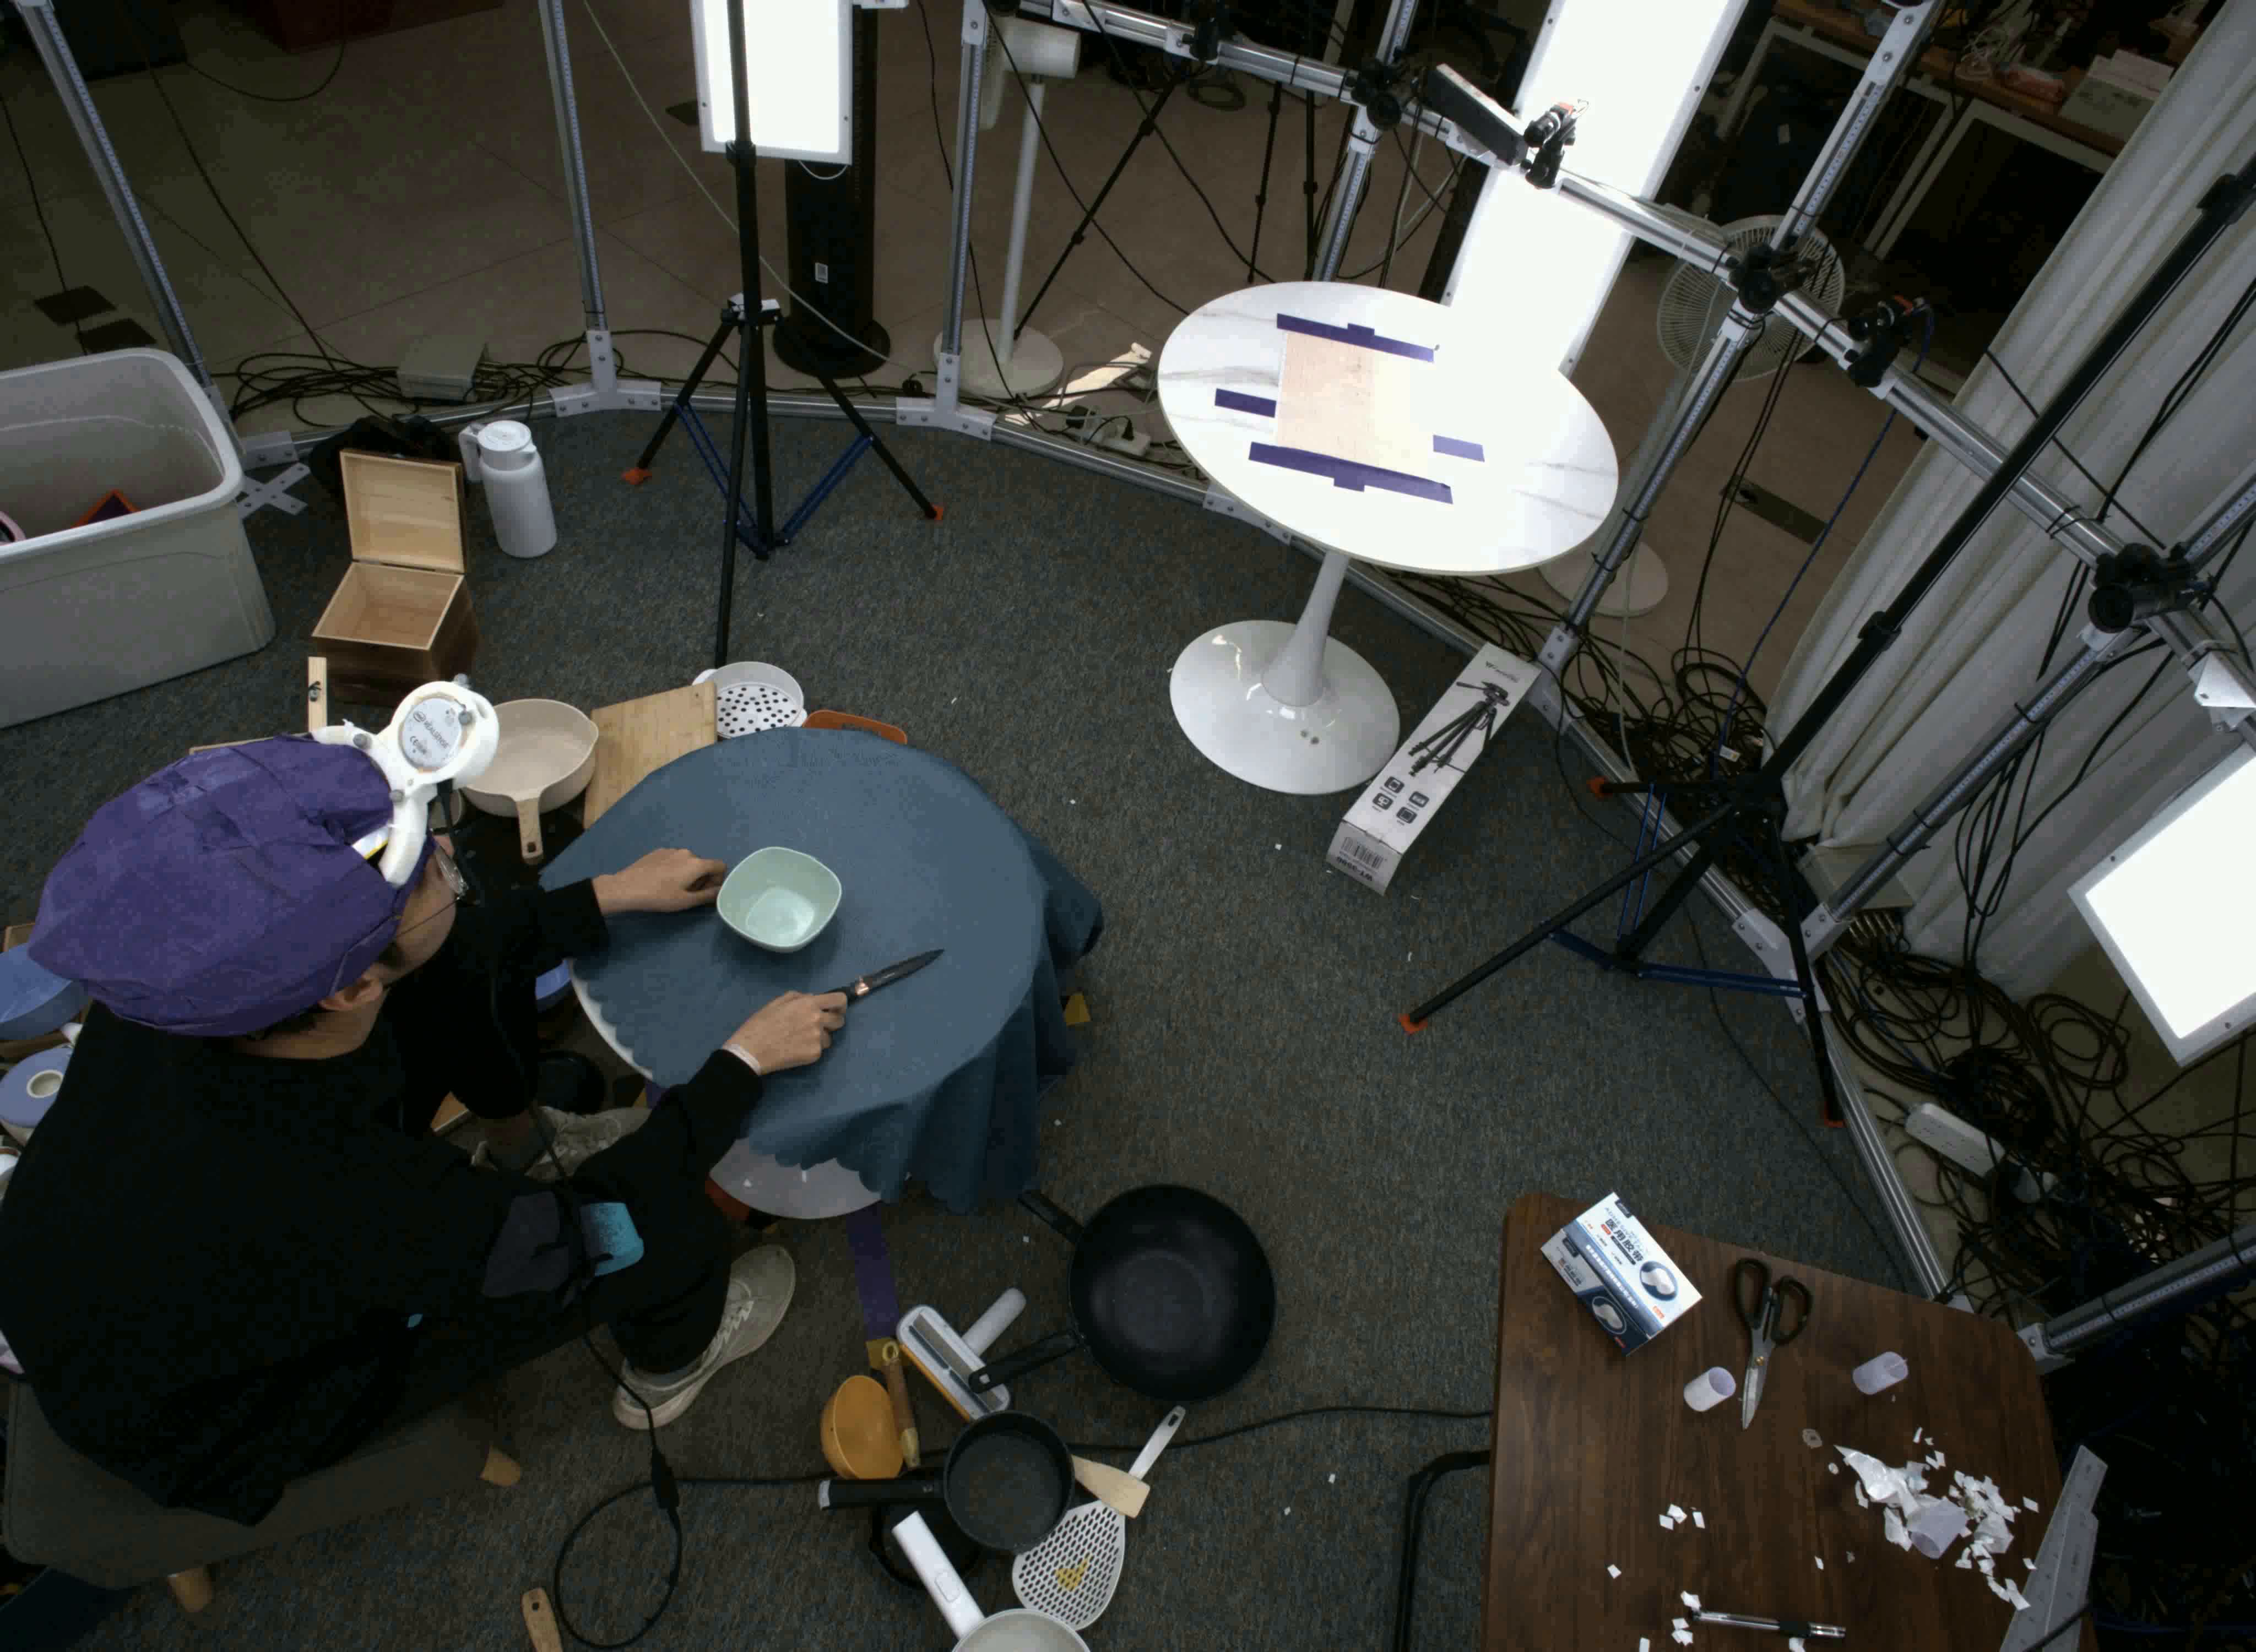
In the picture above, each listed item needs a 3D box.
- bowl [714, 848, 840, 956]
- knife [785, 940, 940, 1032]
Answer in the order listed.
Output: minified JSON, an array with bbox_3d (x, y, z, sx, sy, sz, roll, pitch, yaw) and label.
[{"bbox_3d":[-0.432,0.102,1.599,0.151,0.060,0.149,9,52,-10],"label":"bowl"},{"bbox_3d":[-0.321,0.191,1.591,0.226,0.018,0.025,-27,54,-32],"label":"knife"}]
